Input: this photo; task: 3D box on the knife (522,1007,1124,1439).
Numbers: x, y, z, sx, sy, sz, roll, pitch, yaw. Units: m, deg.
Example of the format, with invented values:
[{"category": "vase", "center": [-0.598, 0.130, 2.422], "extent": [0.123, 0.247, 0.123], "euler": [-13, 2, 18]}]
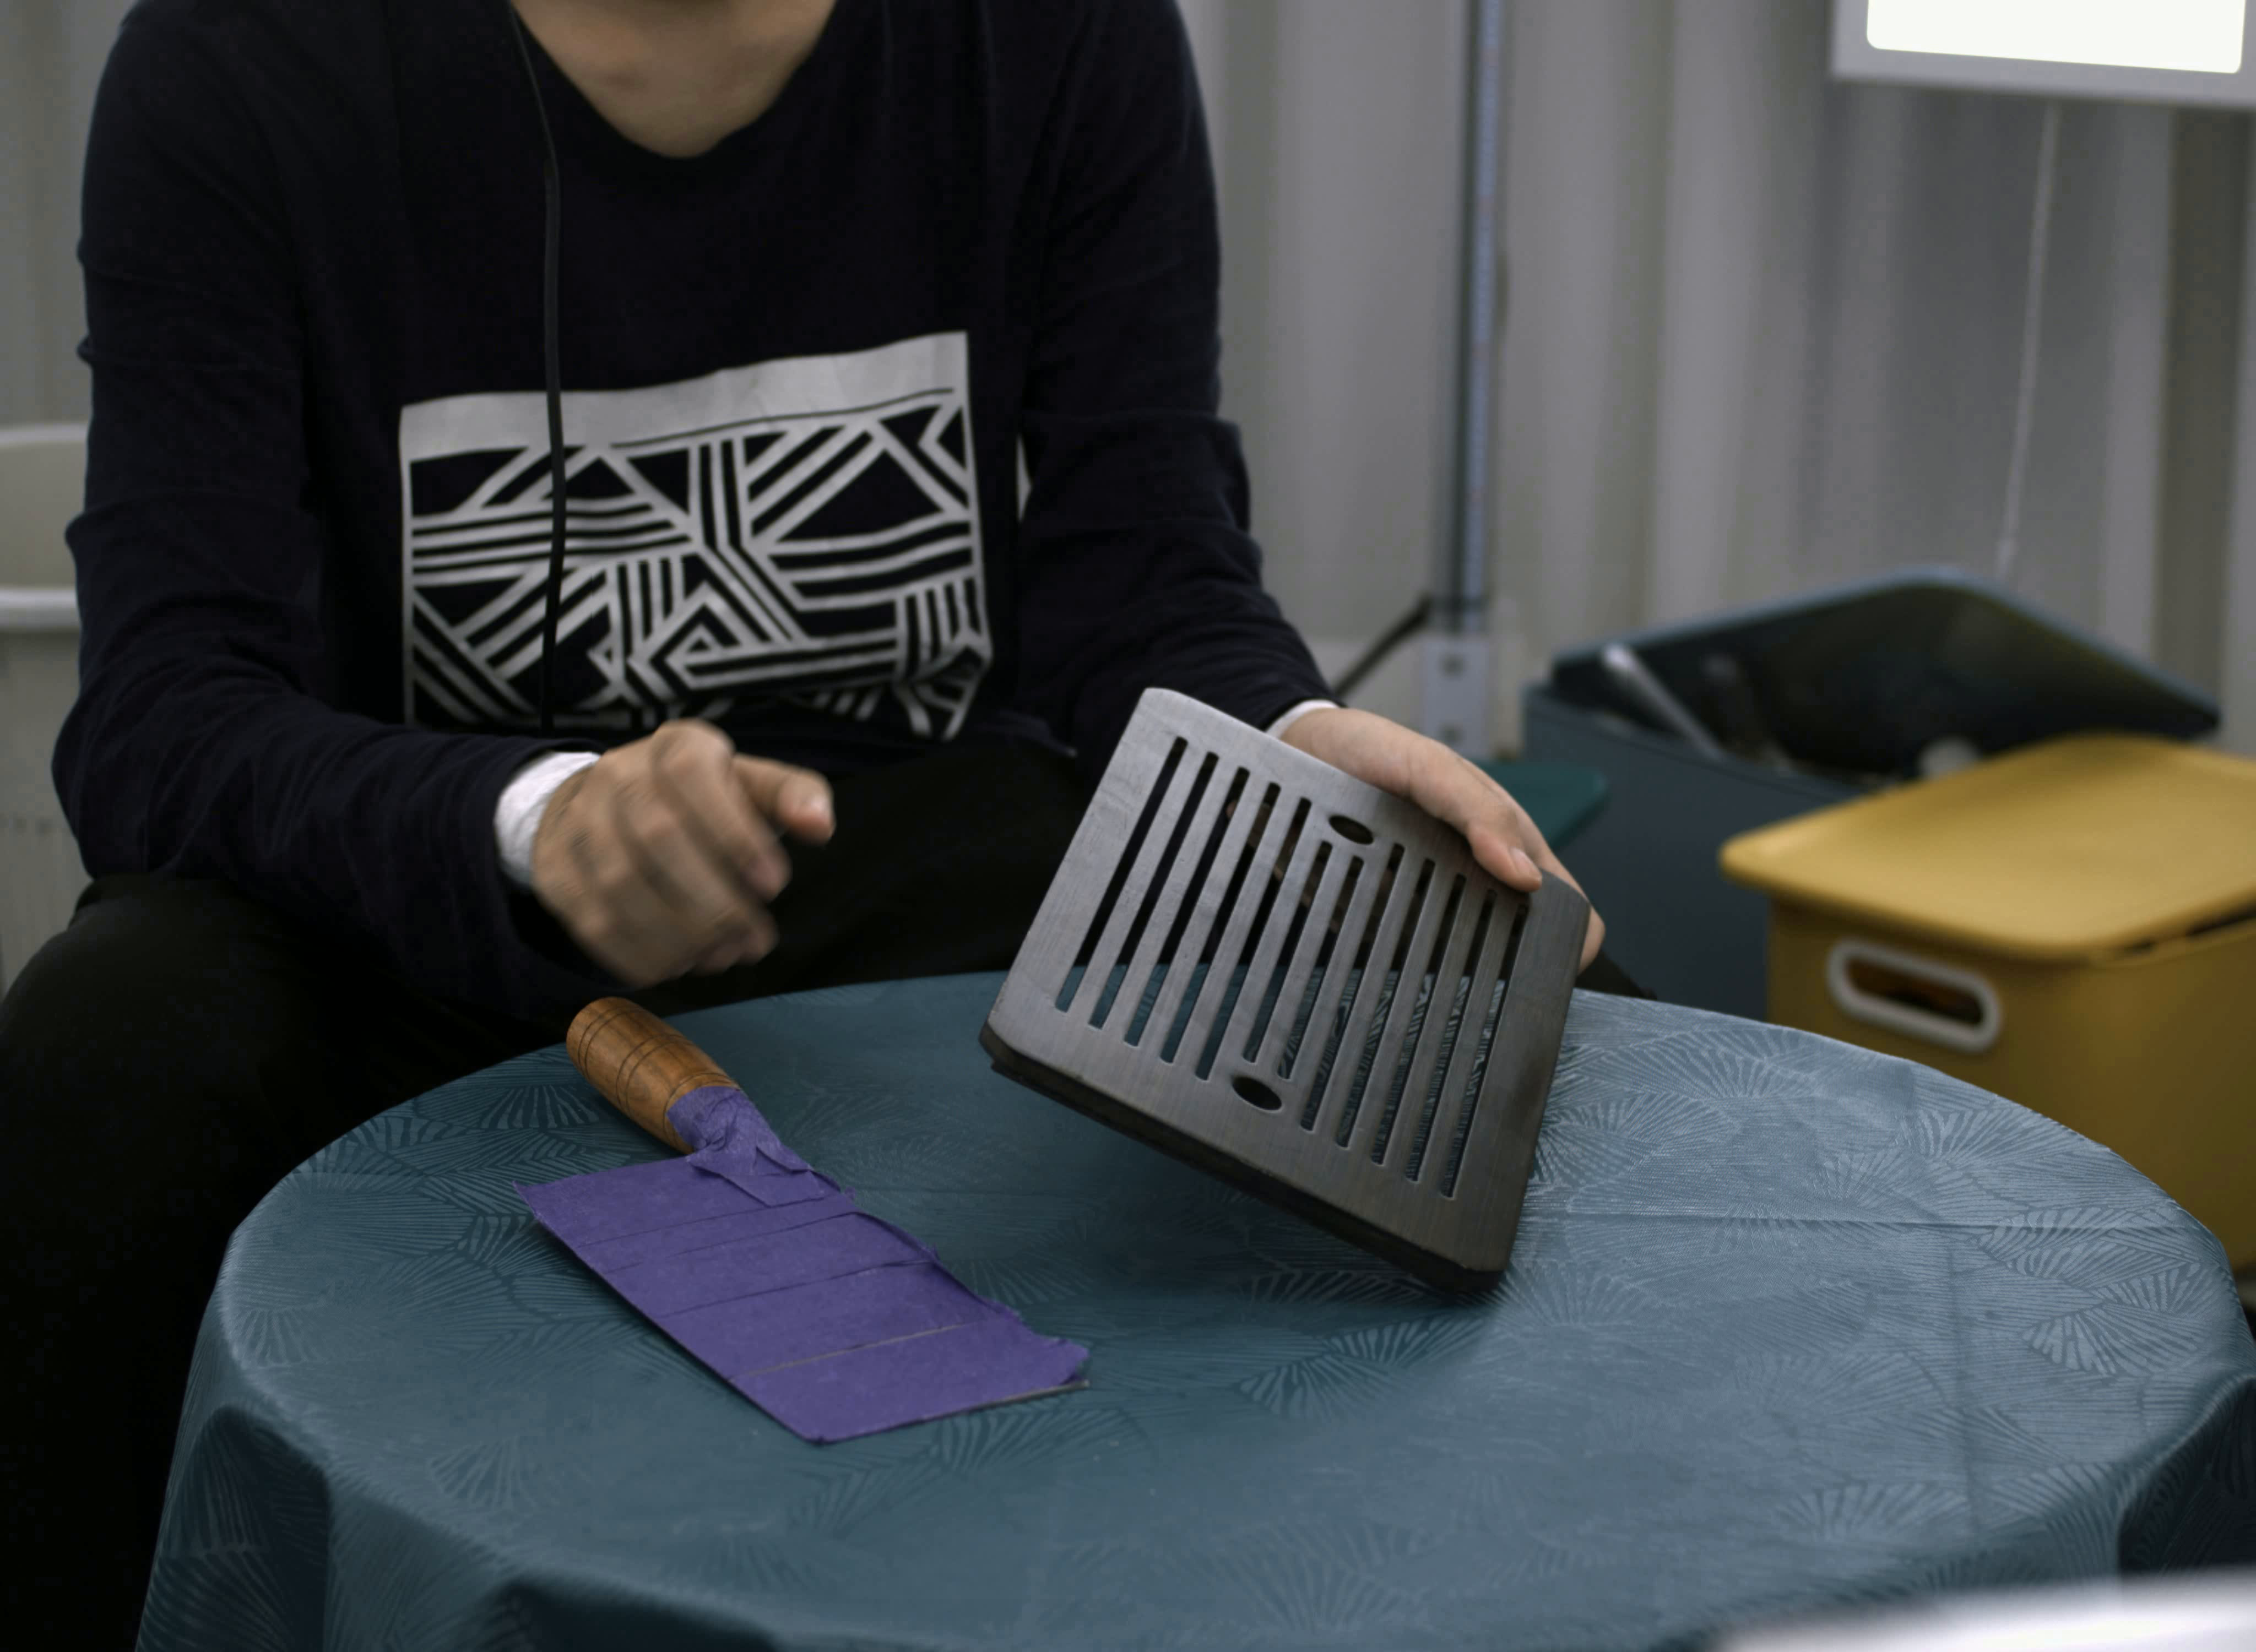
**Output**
[{"category": "knife", "center": [-0.121, 0.114, 1.564], "extent": [0.104, 0.032, 0.311], "euler": [-8, 18, -29]}]

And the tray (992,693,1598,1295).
[{"category": "tray", "center": [0.058, 0.049, 1.659], "extent": [0.170, 0.019, 0.305], "euler": [26, 23, -1]}]
